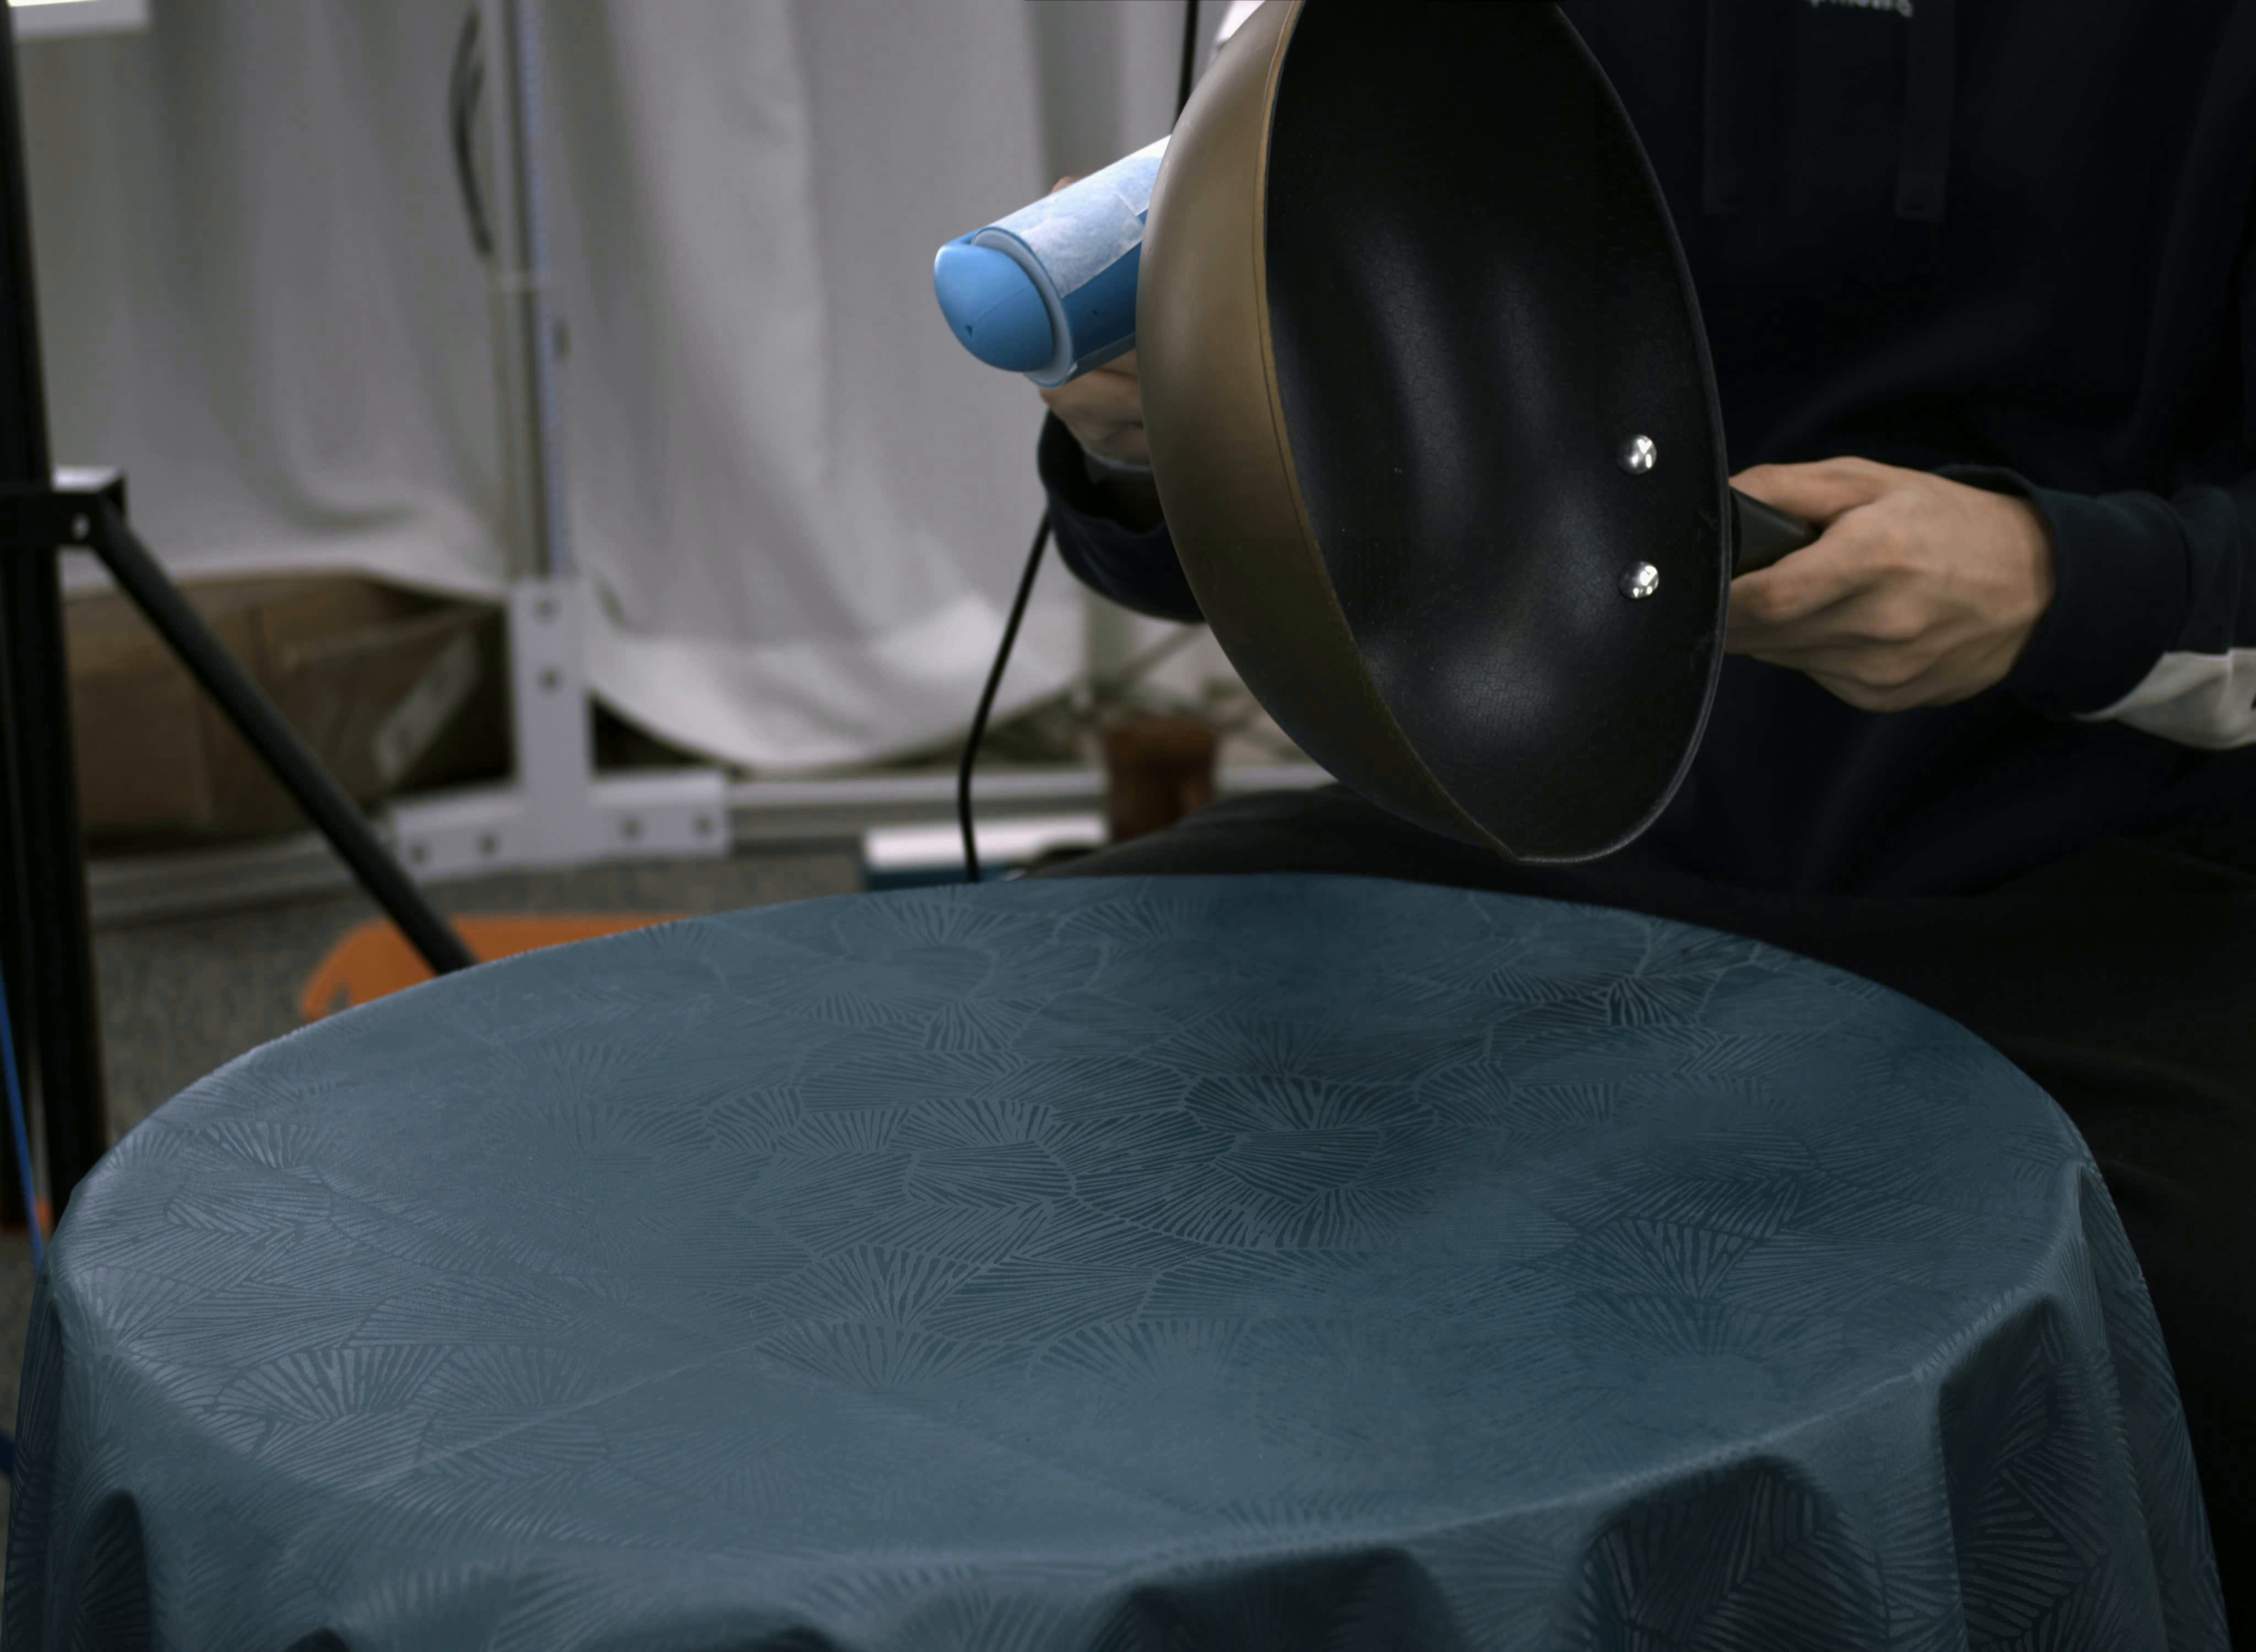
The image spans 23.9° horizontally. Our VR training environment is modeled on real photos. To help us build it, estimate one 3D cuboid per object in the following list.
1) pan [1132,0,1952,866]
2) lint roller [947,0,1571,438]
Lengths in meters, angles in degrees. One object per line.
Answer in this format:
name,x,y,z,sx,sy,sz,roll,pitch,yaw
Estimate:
pan,0.126,-0.102,1.634,0.088,0.291,0.451,-10,-20,32
lint roller,0.024,-0.182,1.697,0.225,0.068,0.182,-31,-5,-27
